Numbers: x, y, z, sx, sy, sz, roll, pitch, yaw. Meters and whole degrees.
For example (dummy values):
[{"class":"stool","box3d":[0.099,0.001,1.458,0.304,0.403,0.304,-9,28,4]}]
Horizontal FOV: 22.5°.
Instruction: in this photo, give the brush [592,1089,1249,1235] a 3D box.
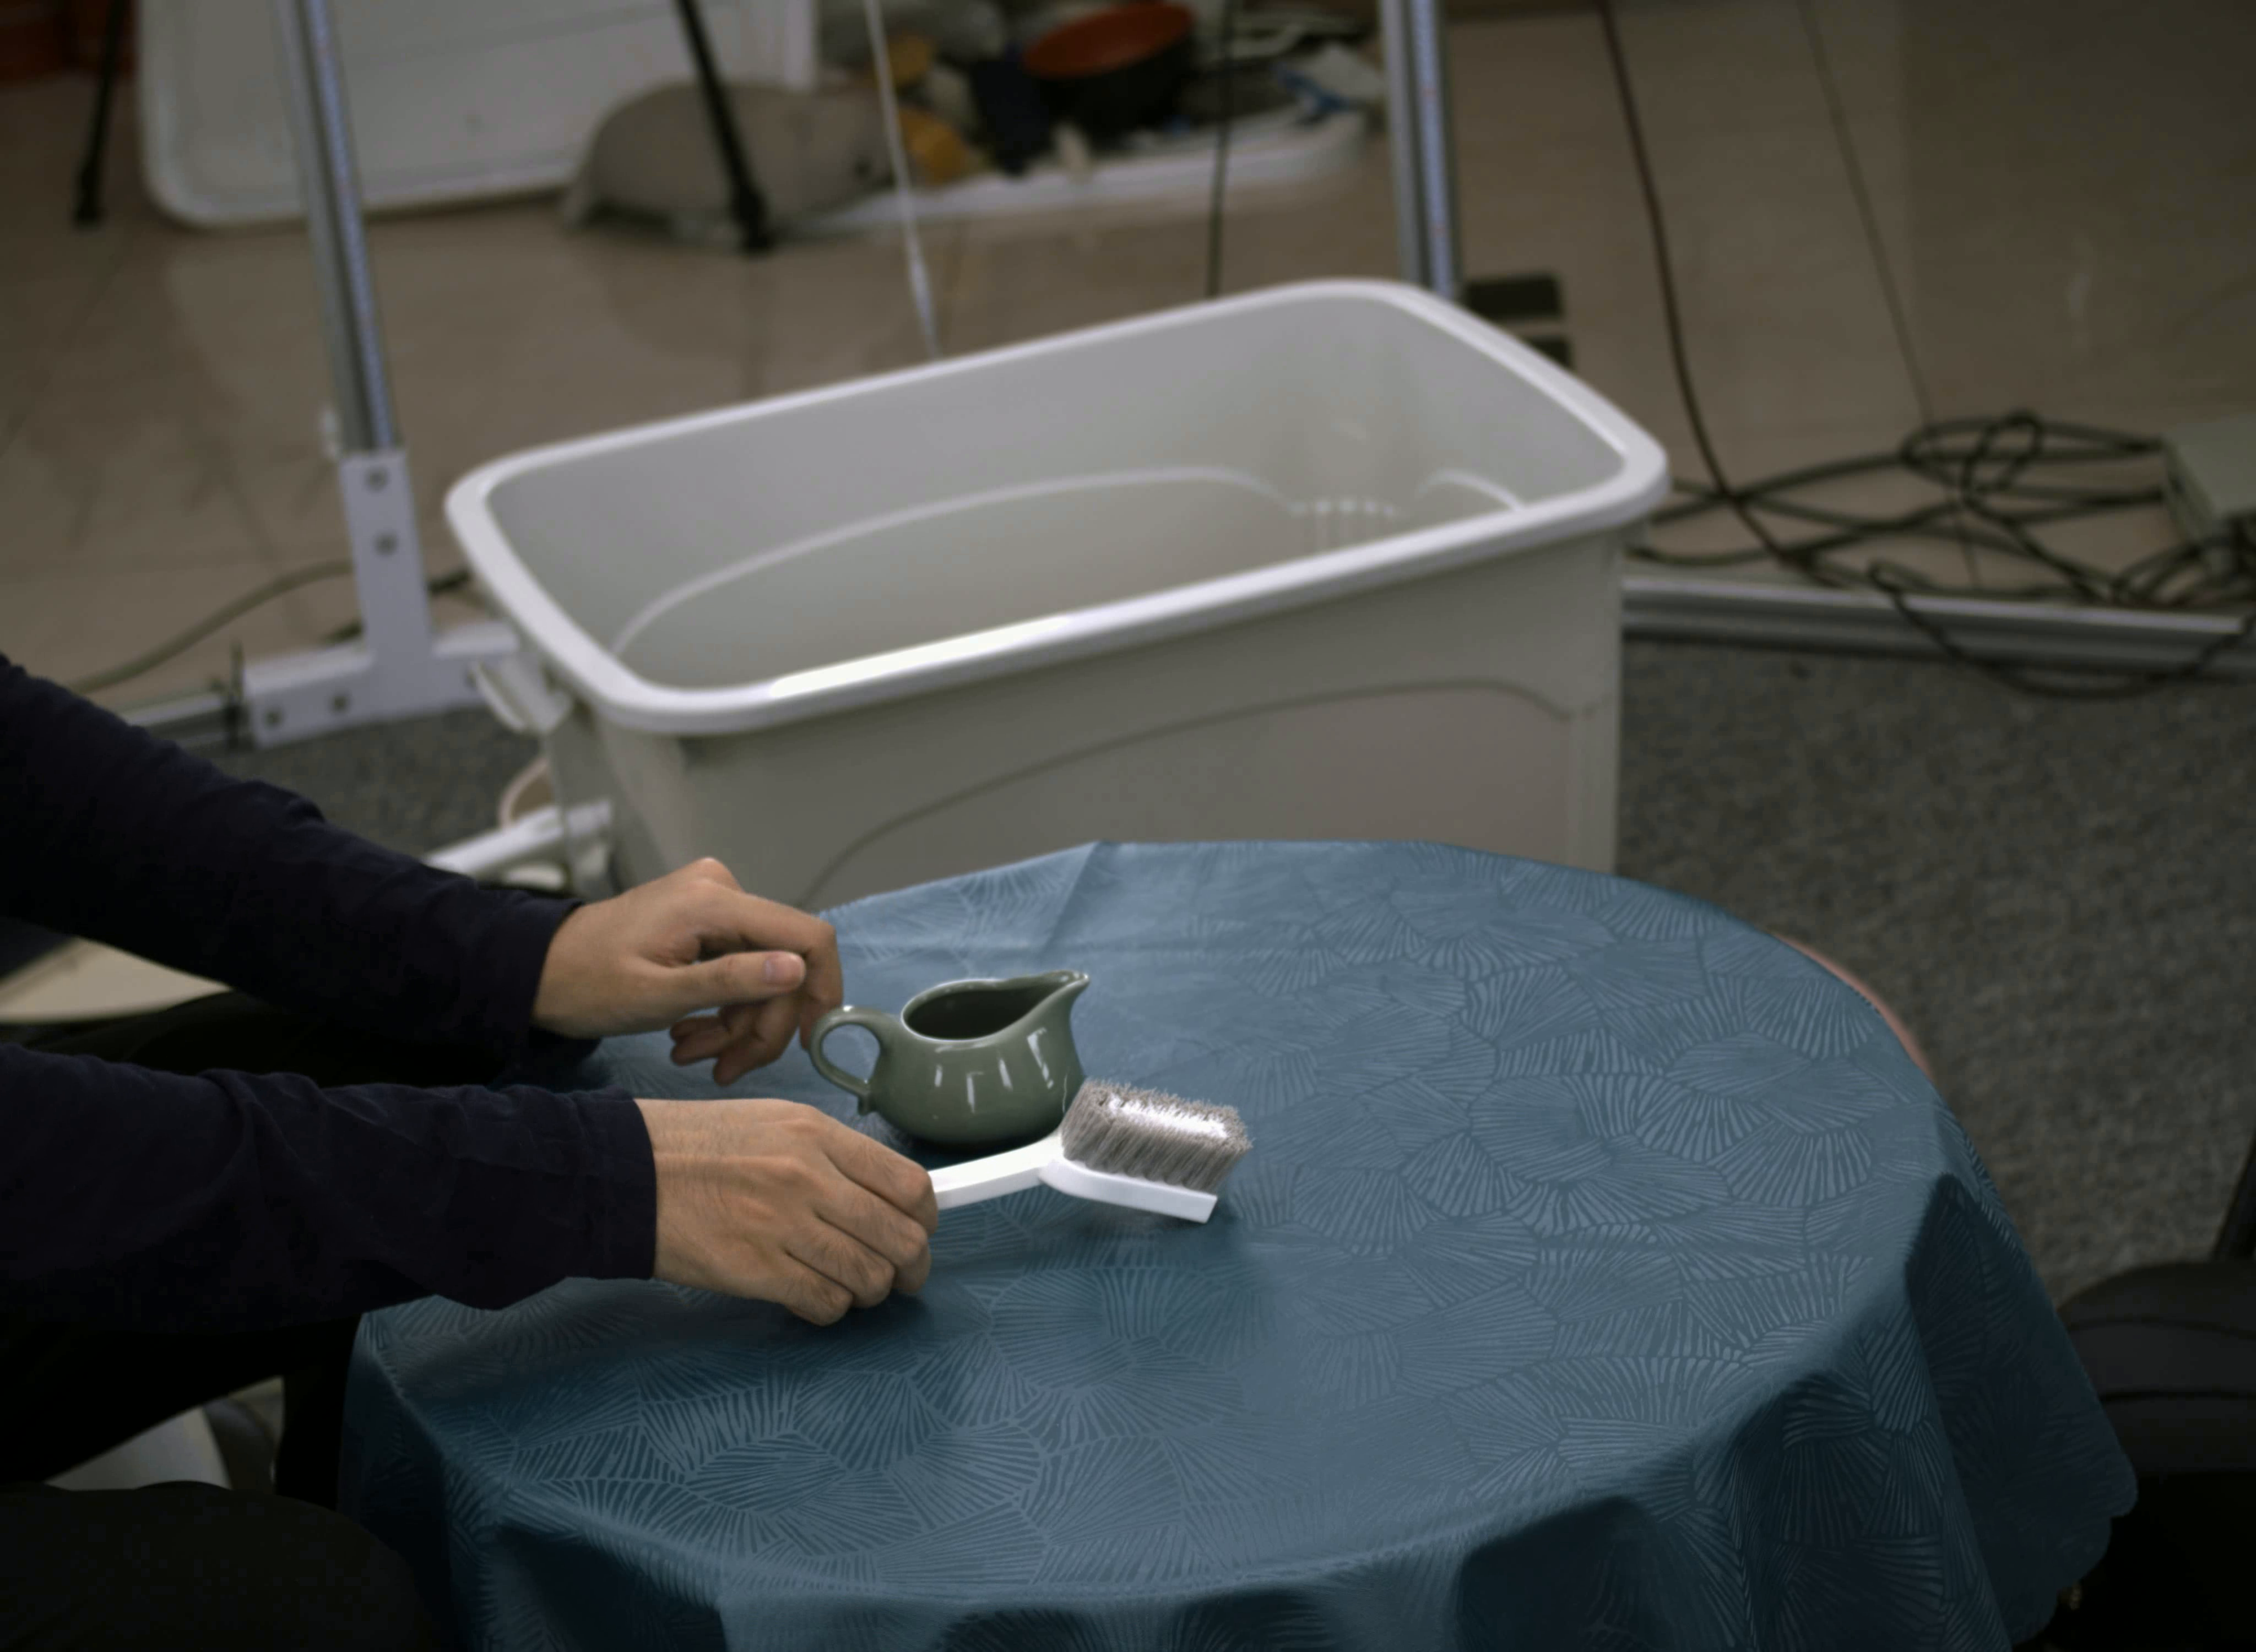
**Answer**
[{"class":"brush","box3d":[-0.077,0.125,2.102,0.243,0.051,0.034,-1,39,-8]}]

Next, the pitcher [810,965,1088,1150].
[{"class":"pitcher","box3d":[-0.066,0.091,2.202,0.112,0.057,0.083,-12,24,-8]}]
